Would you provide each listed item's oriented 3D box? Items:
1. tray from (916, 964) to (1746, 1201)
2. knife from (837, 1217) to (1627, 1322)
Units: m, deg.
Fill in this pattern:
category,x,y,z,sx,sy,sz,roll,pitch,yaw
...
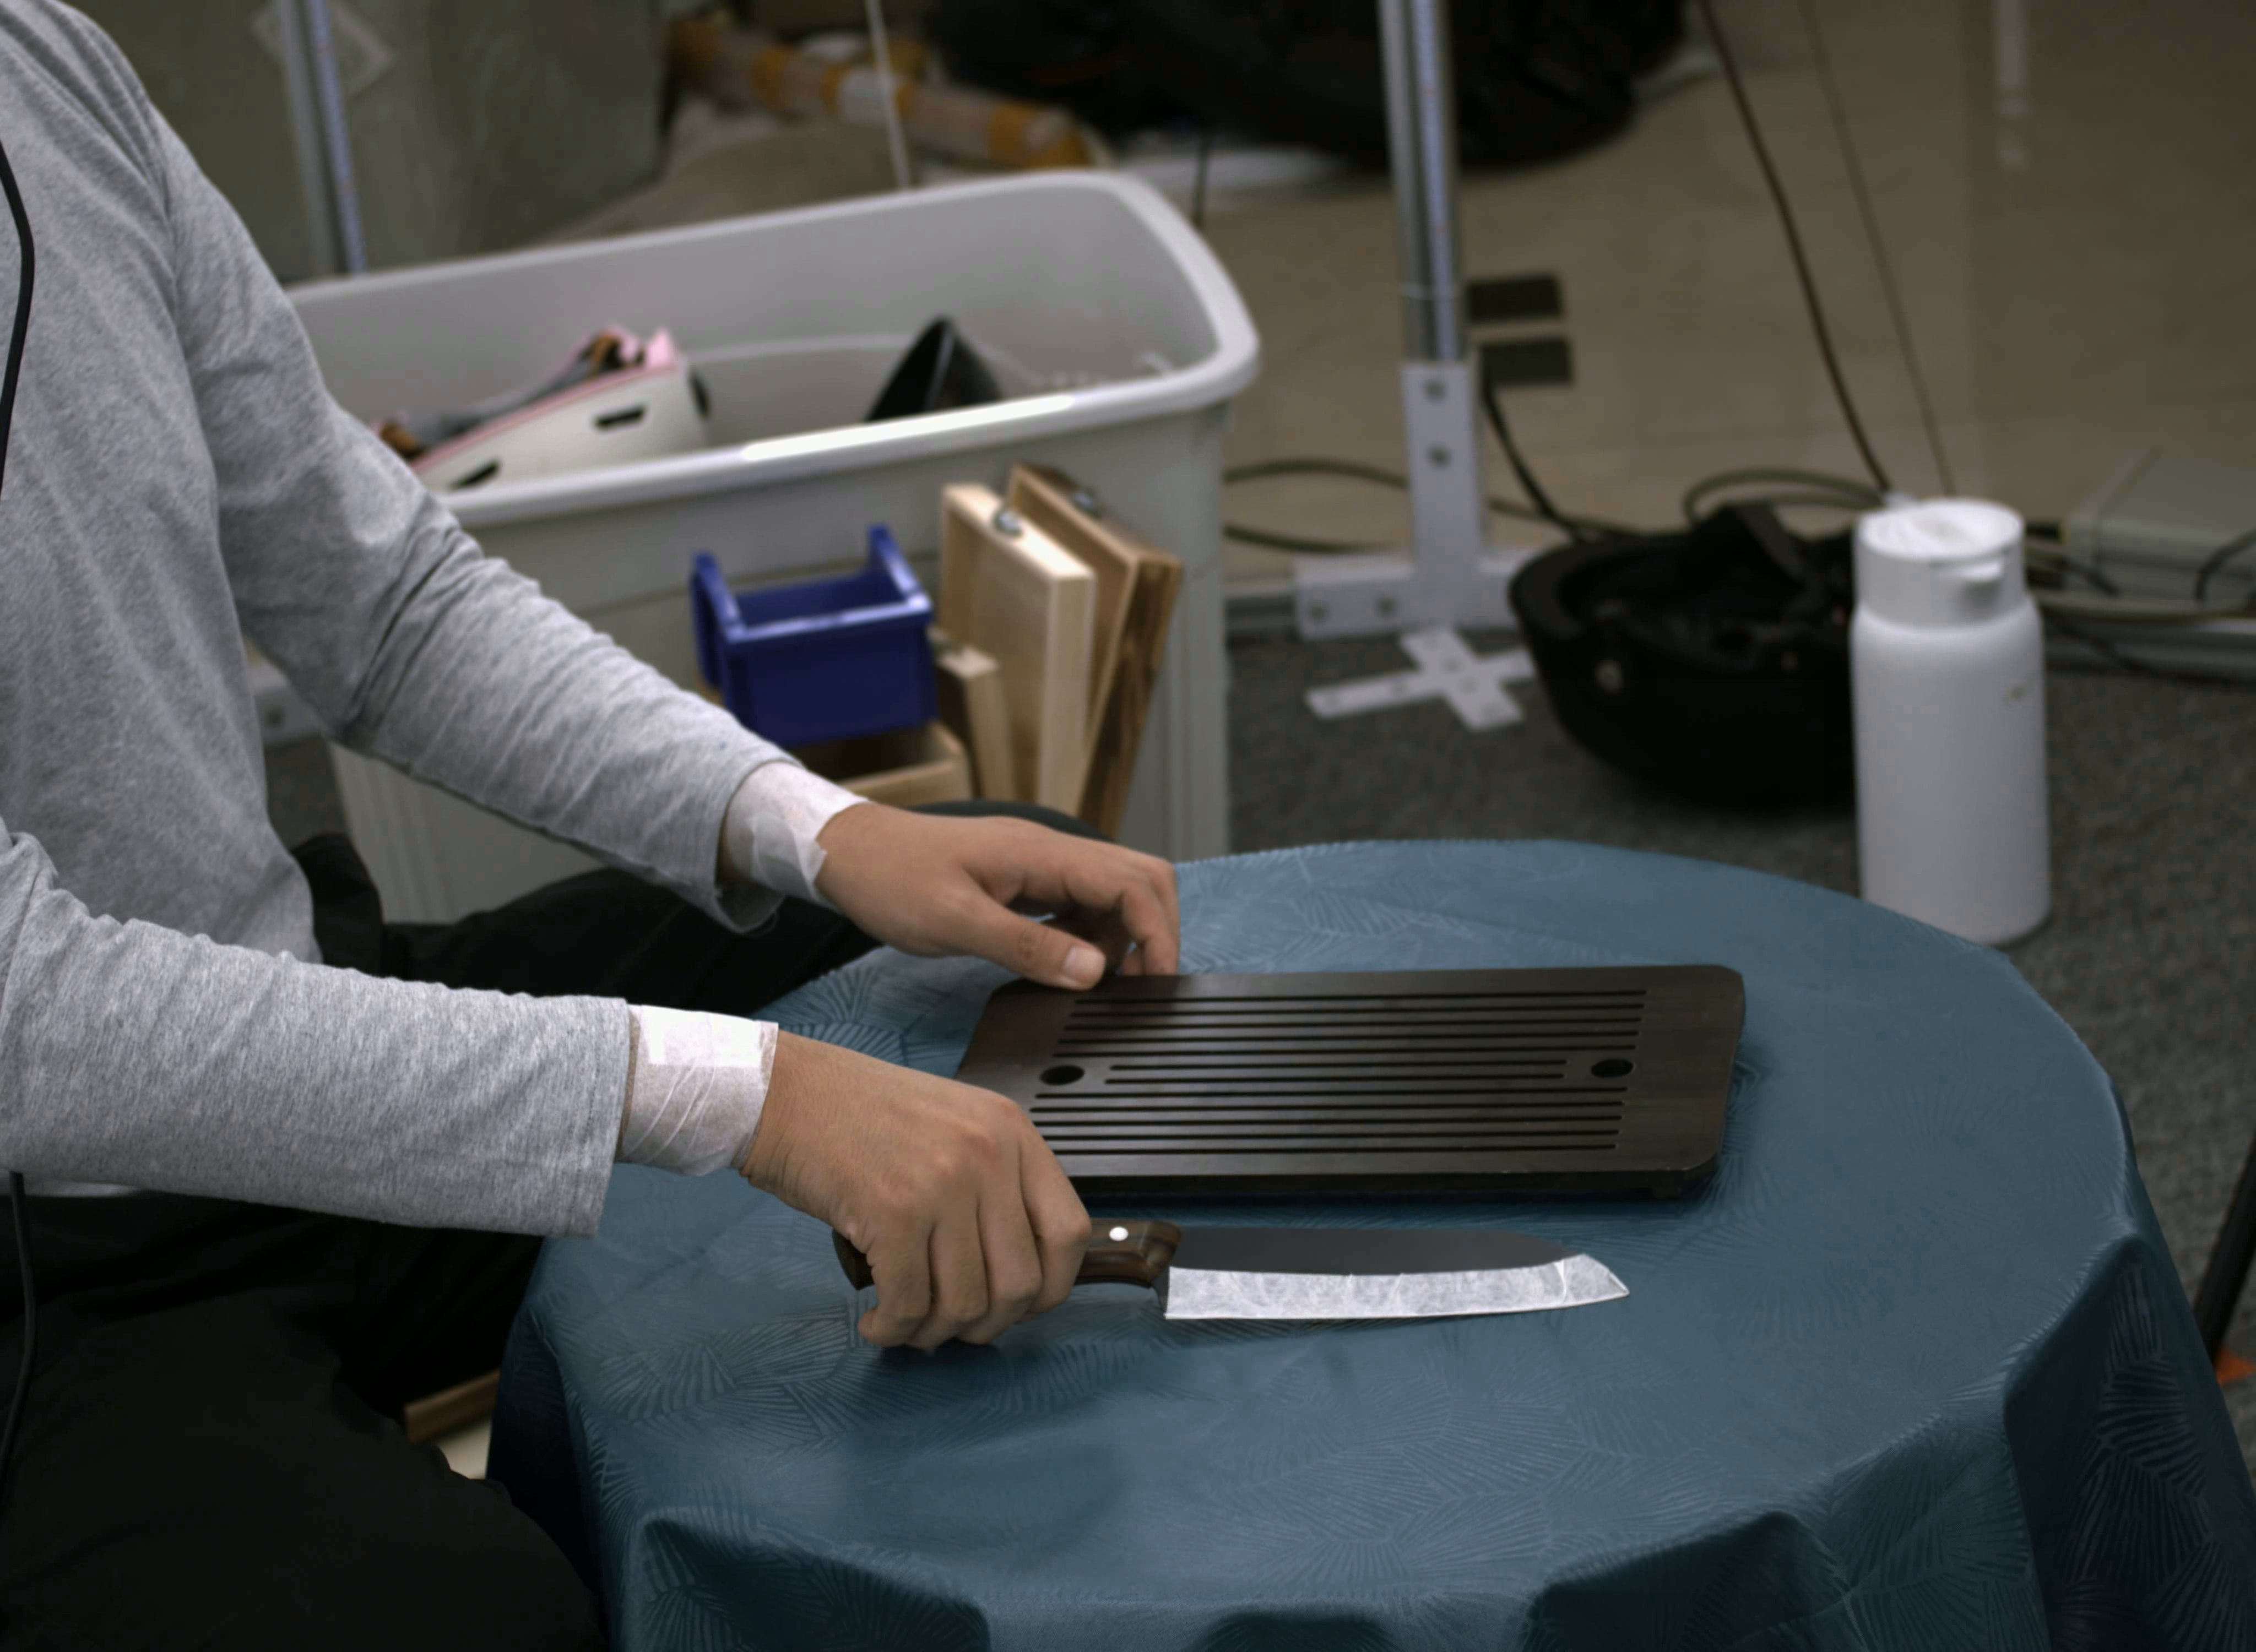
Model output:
category,x,y,z,sx,sy,sz,roll,pitch,yaw
tray,0.081,0.100,2.195,0.305,0.019,0.167,-1,25,12
knife,0.036,0.161,2.058,0.288,0.020,0.049,2,45,5
